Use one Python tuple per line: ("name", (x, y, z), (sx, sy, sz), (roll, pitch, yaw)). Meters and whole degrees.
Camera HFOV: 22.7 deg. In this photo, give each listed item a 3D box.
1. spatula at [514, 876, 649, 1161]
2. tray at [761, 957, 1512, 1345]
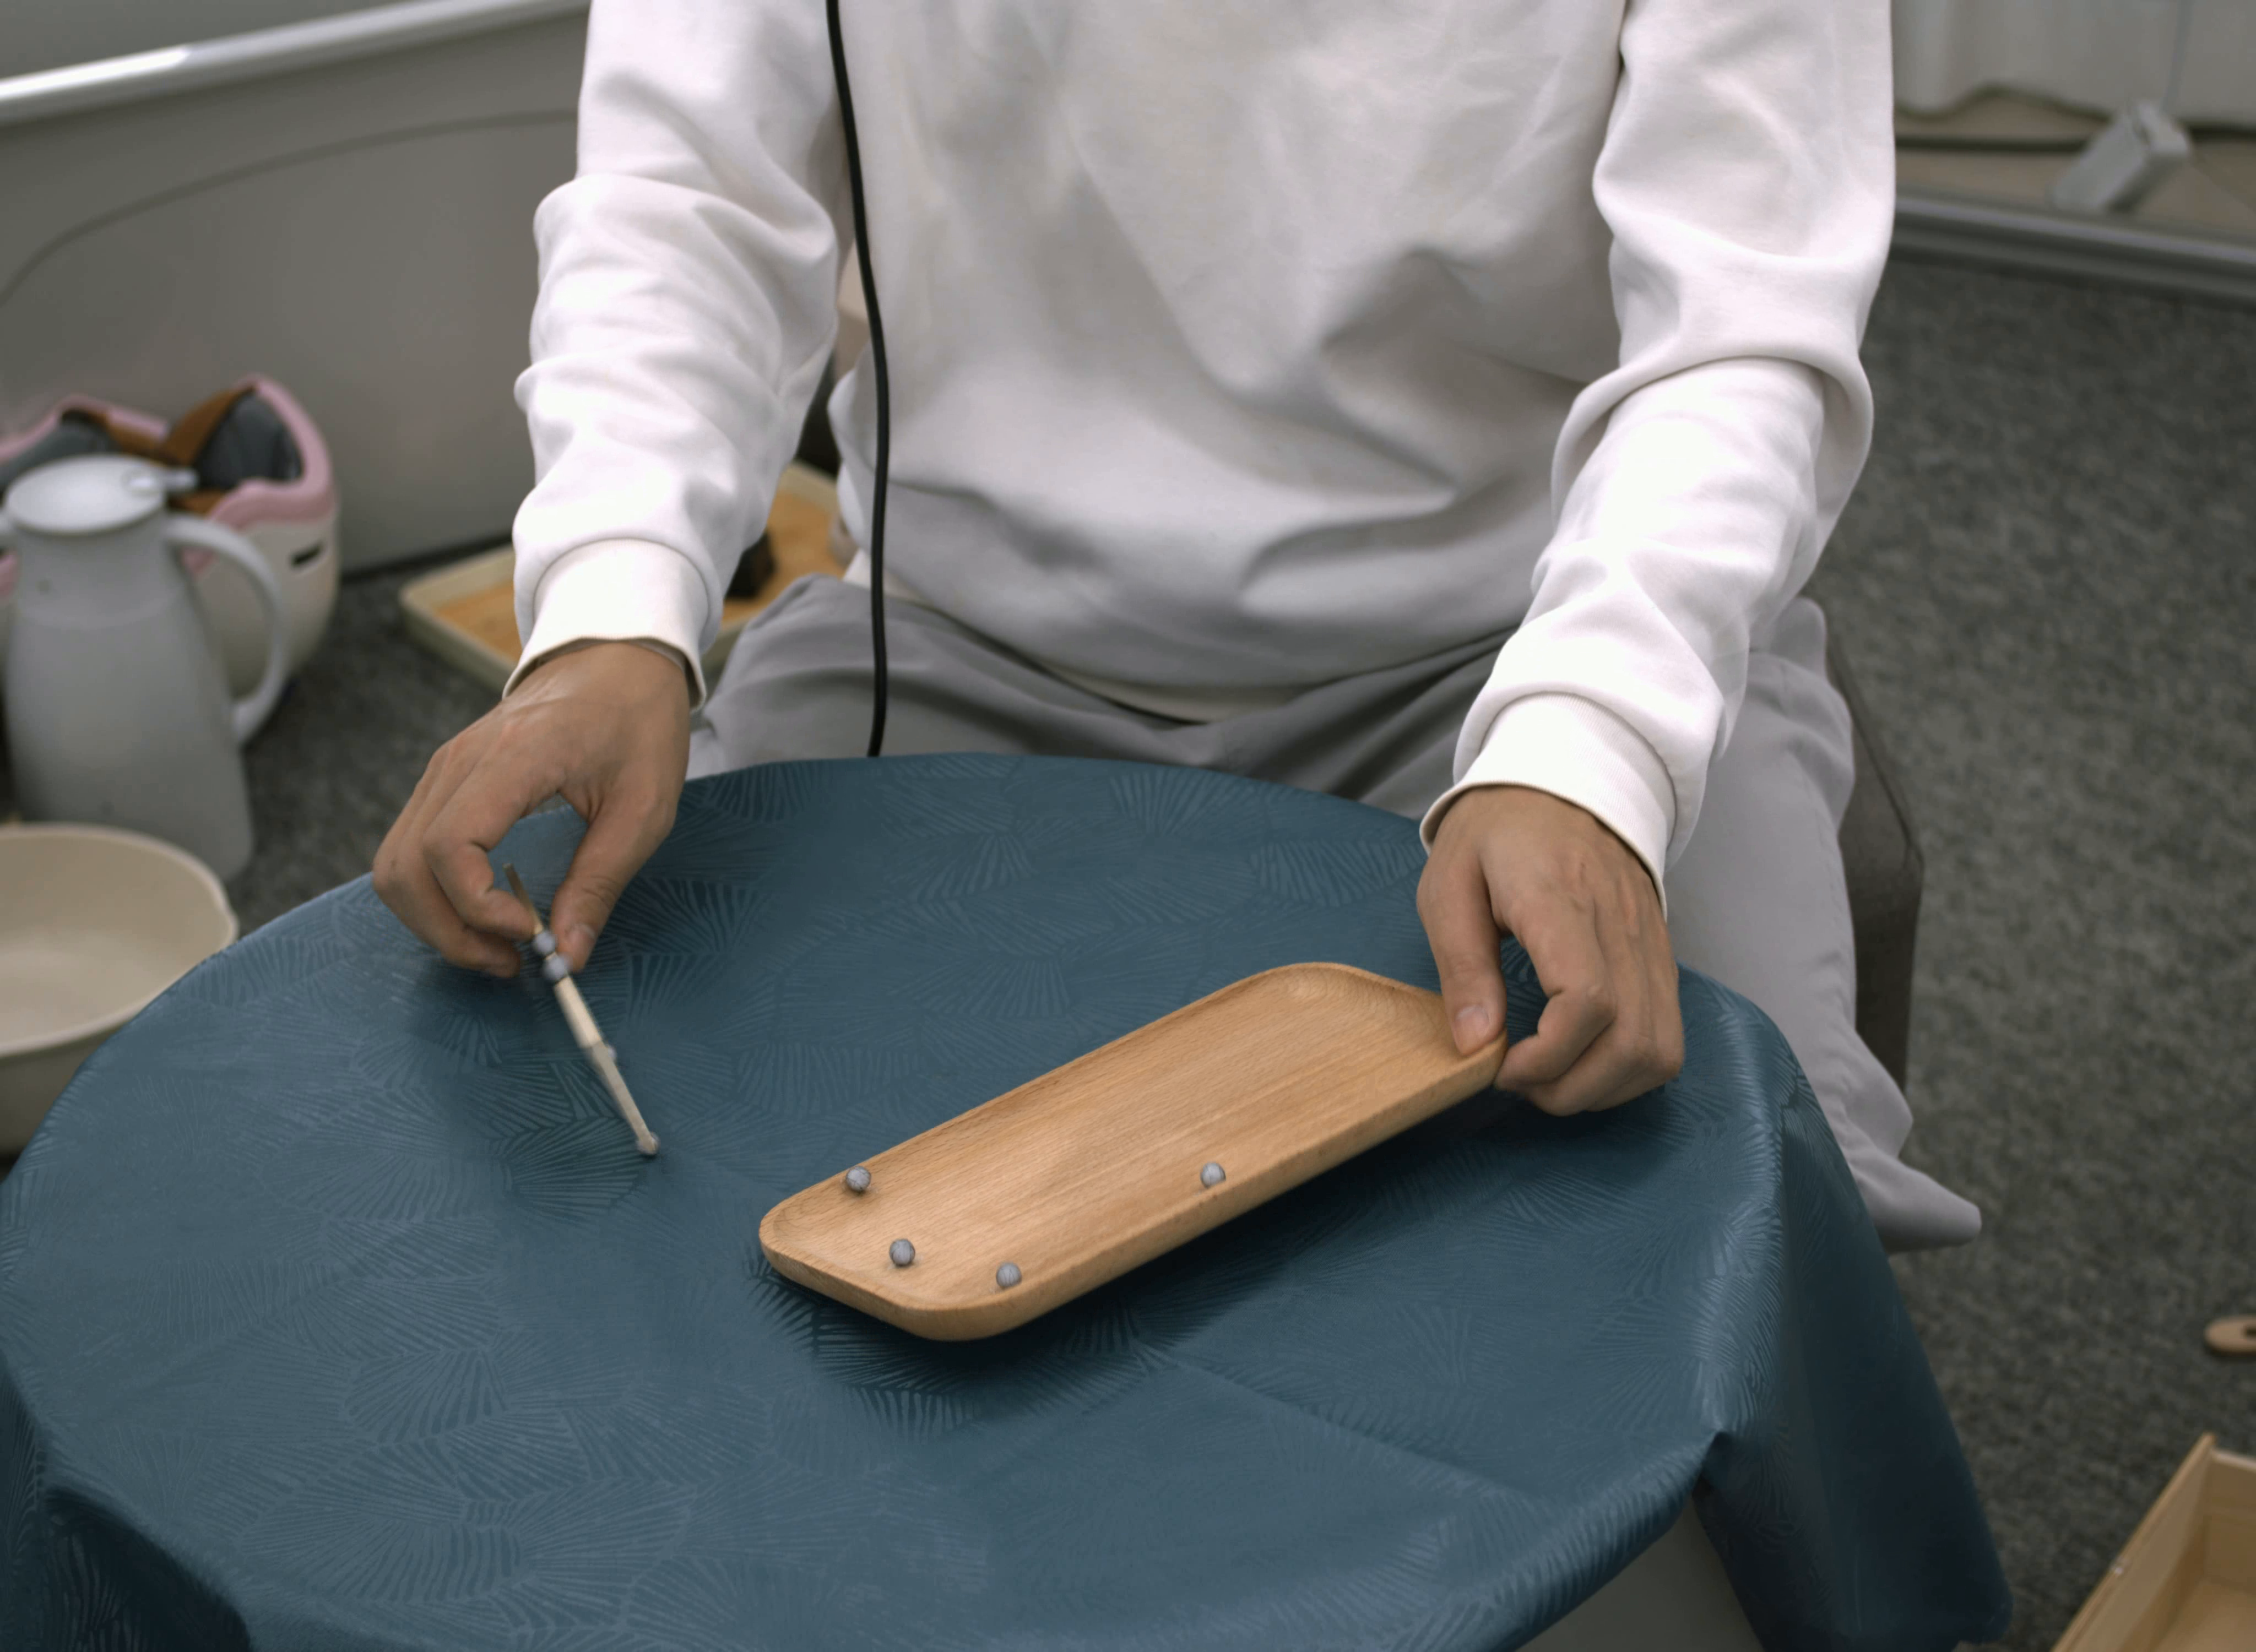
("spatula", (-0.195, 0.061, 1.956), (0.005, 0.050, 0.209), (-34, 24, 0))
("tray", (0.005, 0.105, 1.854), (0.253, 0.022, 0.130), (-24, 28, -33))
